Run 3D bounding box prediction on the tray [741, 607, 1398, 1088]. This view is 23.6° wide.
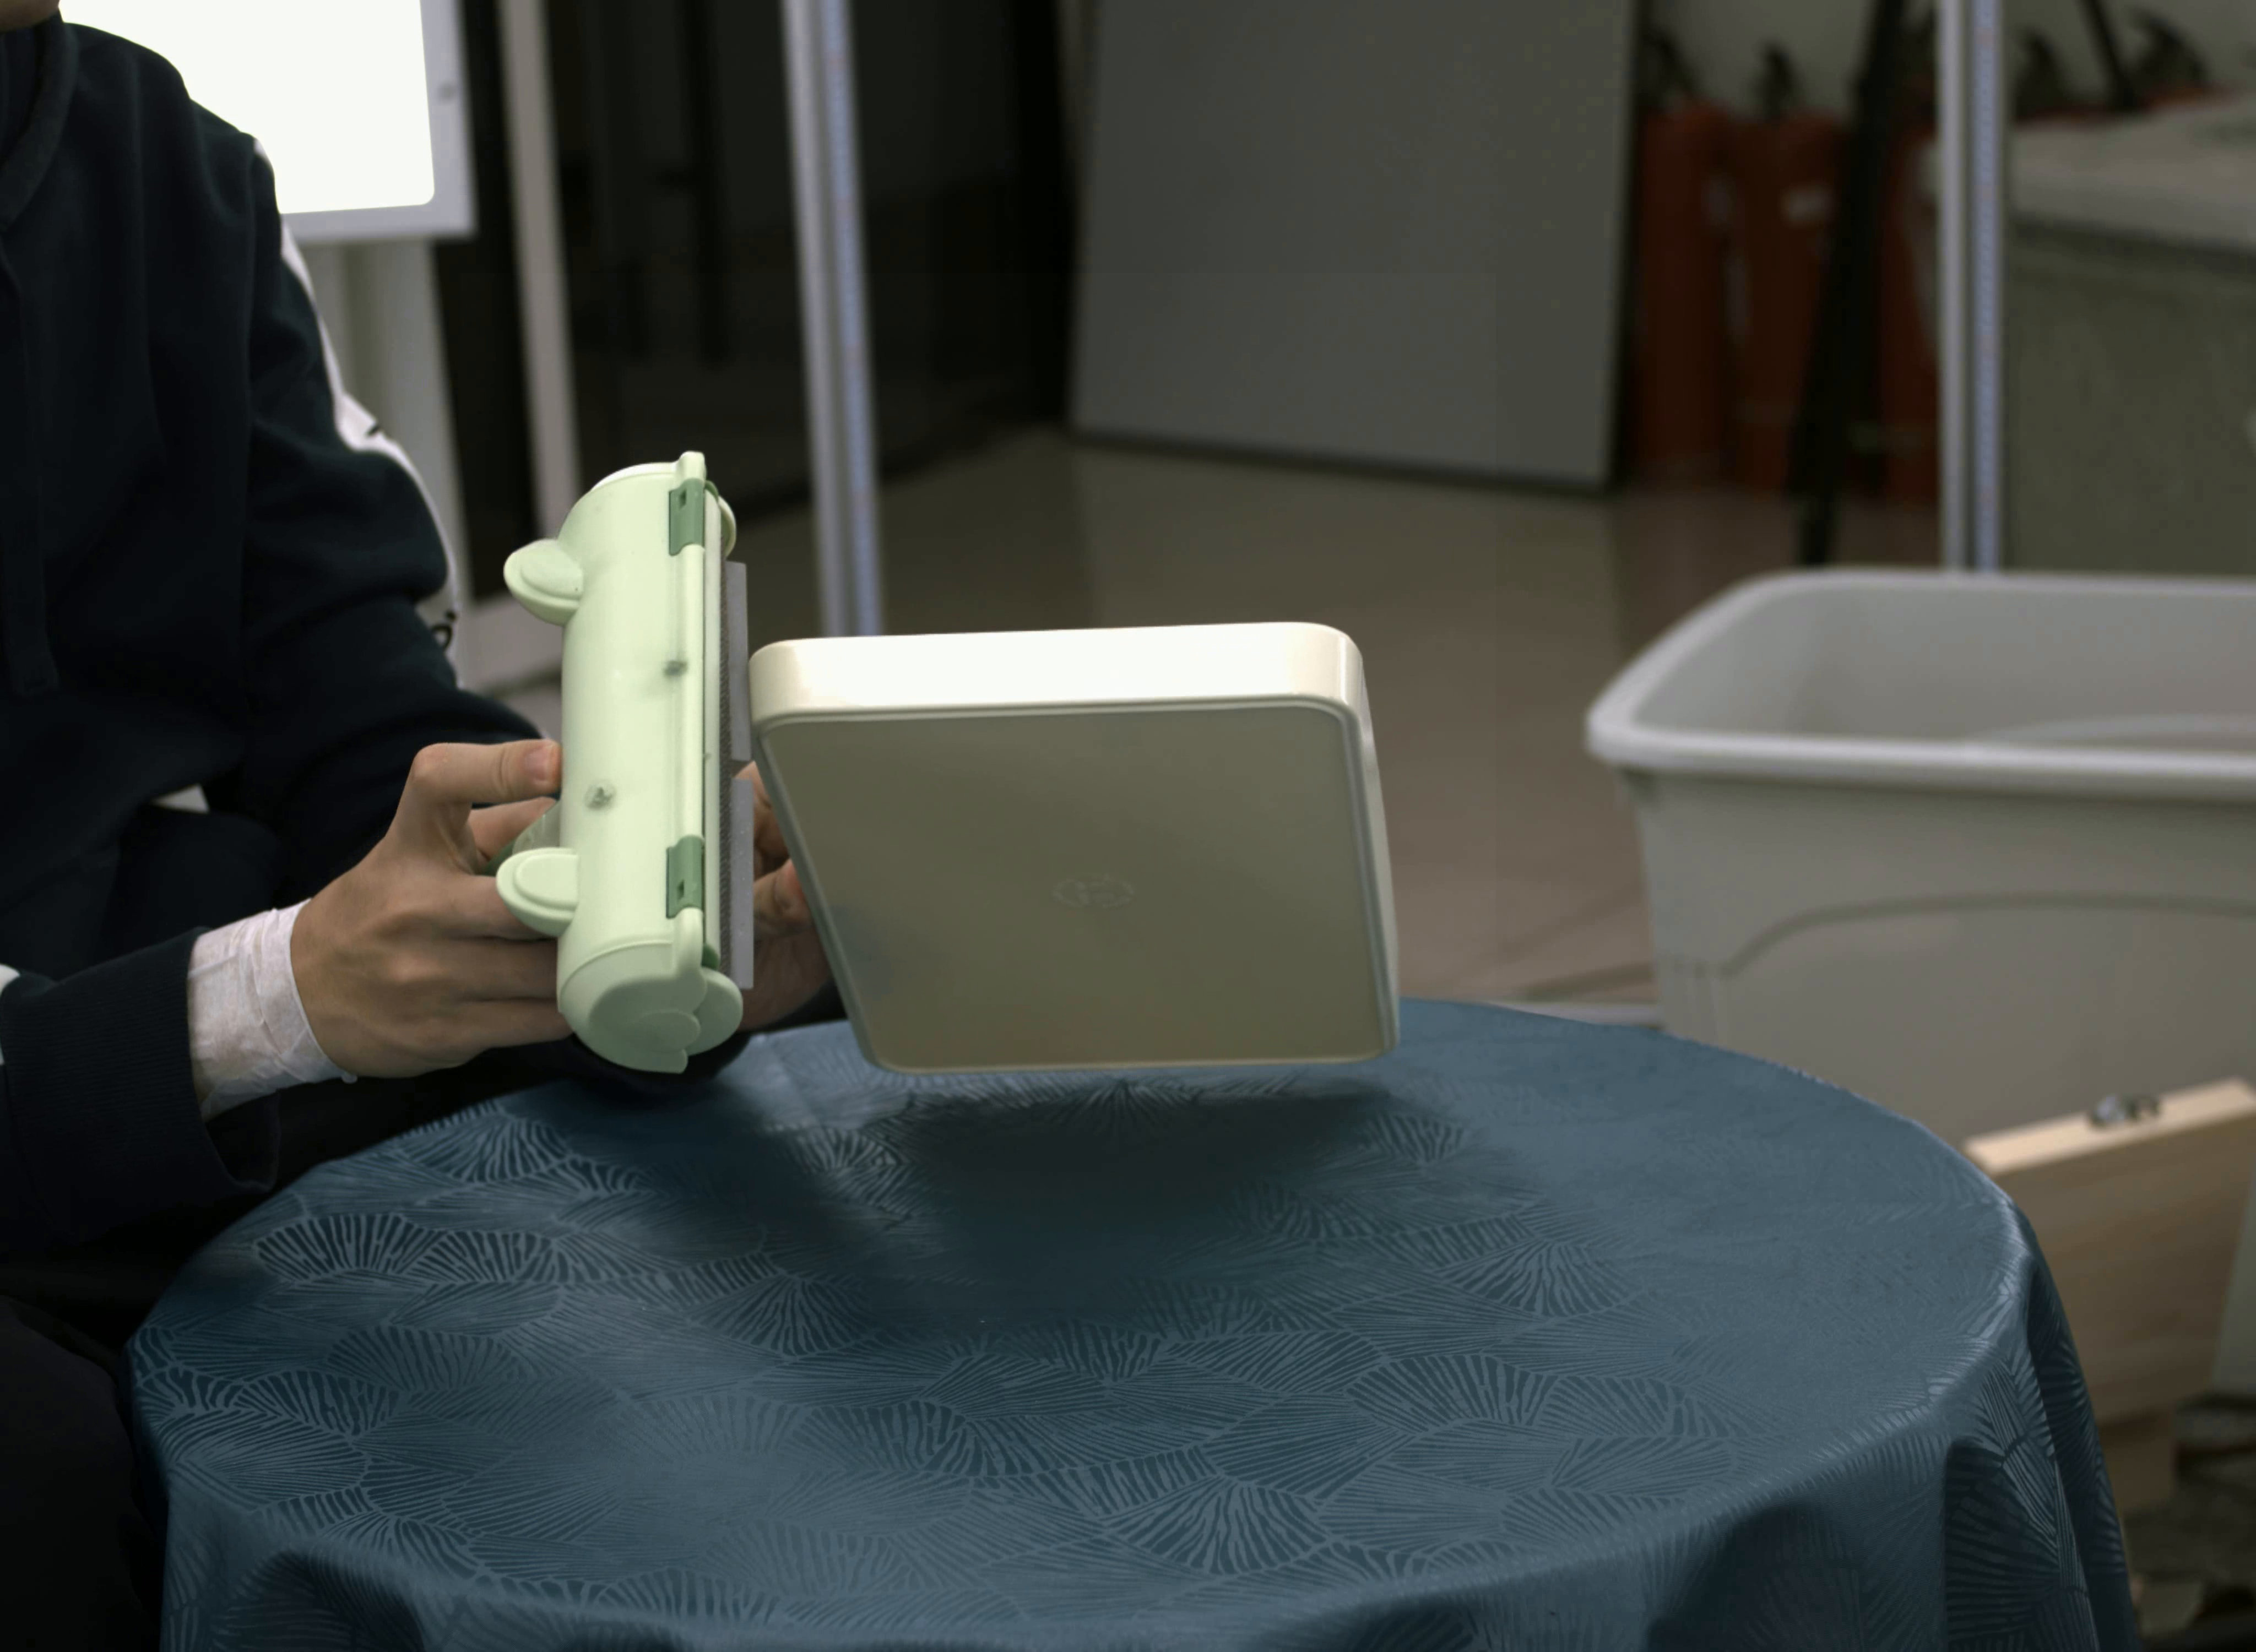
[{"bbox_3d":[-0.012,0.014,1.749,0.190,0.028,0.299,-2,-26,6],"label":"tray"}]

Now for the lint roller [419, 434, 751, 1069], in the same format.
[{"bbox_3d":[-0.183,0.001,1.640,0.080,0.201,0.185,25,-45,-33],"label":"lint roller"}]
